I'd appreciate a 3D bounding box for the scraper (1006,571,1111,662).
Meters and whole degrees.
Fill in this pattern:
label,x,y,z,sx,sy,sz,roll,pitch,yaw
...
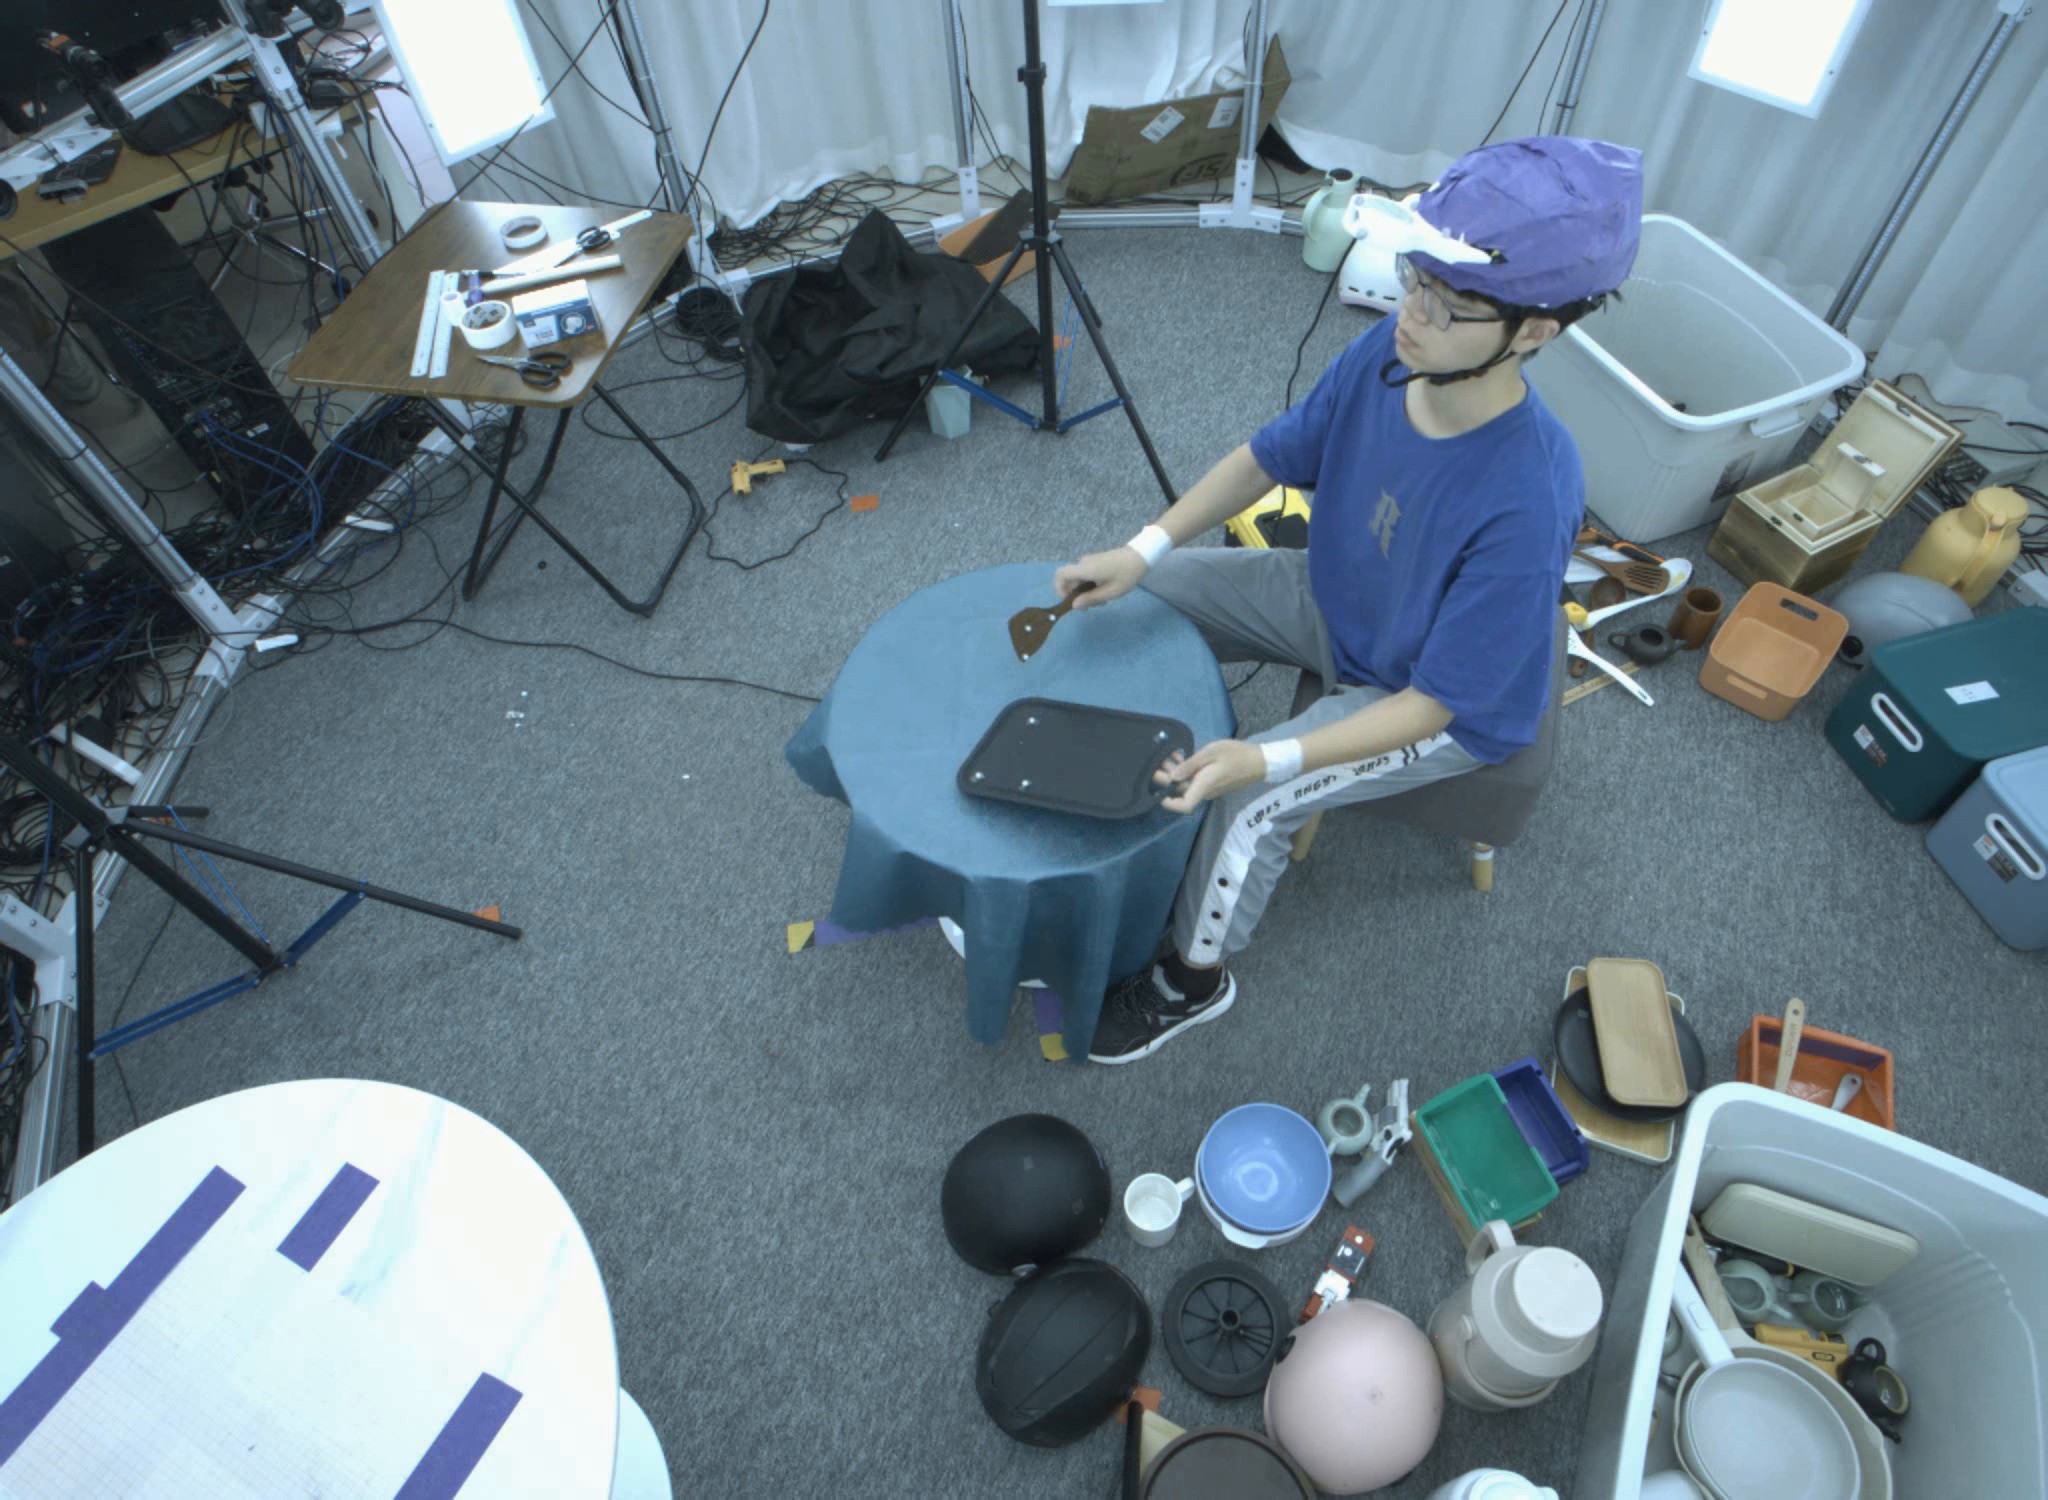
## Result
label,x,y,z,sx,sy,sz,roll,pitch,yaw
scraper,0.055,-0.211,1.839,0.213,0.077,0.010,-36,32,-27

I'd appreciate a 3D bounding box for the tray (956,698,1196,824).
label,x,y,z,sx,sy,sz,roll,pitch,yaw
tray,0.076,0.009,1.704,0.319,0.010,0.212,11,47,28
